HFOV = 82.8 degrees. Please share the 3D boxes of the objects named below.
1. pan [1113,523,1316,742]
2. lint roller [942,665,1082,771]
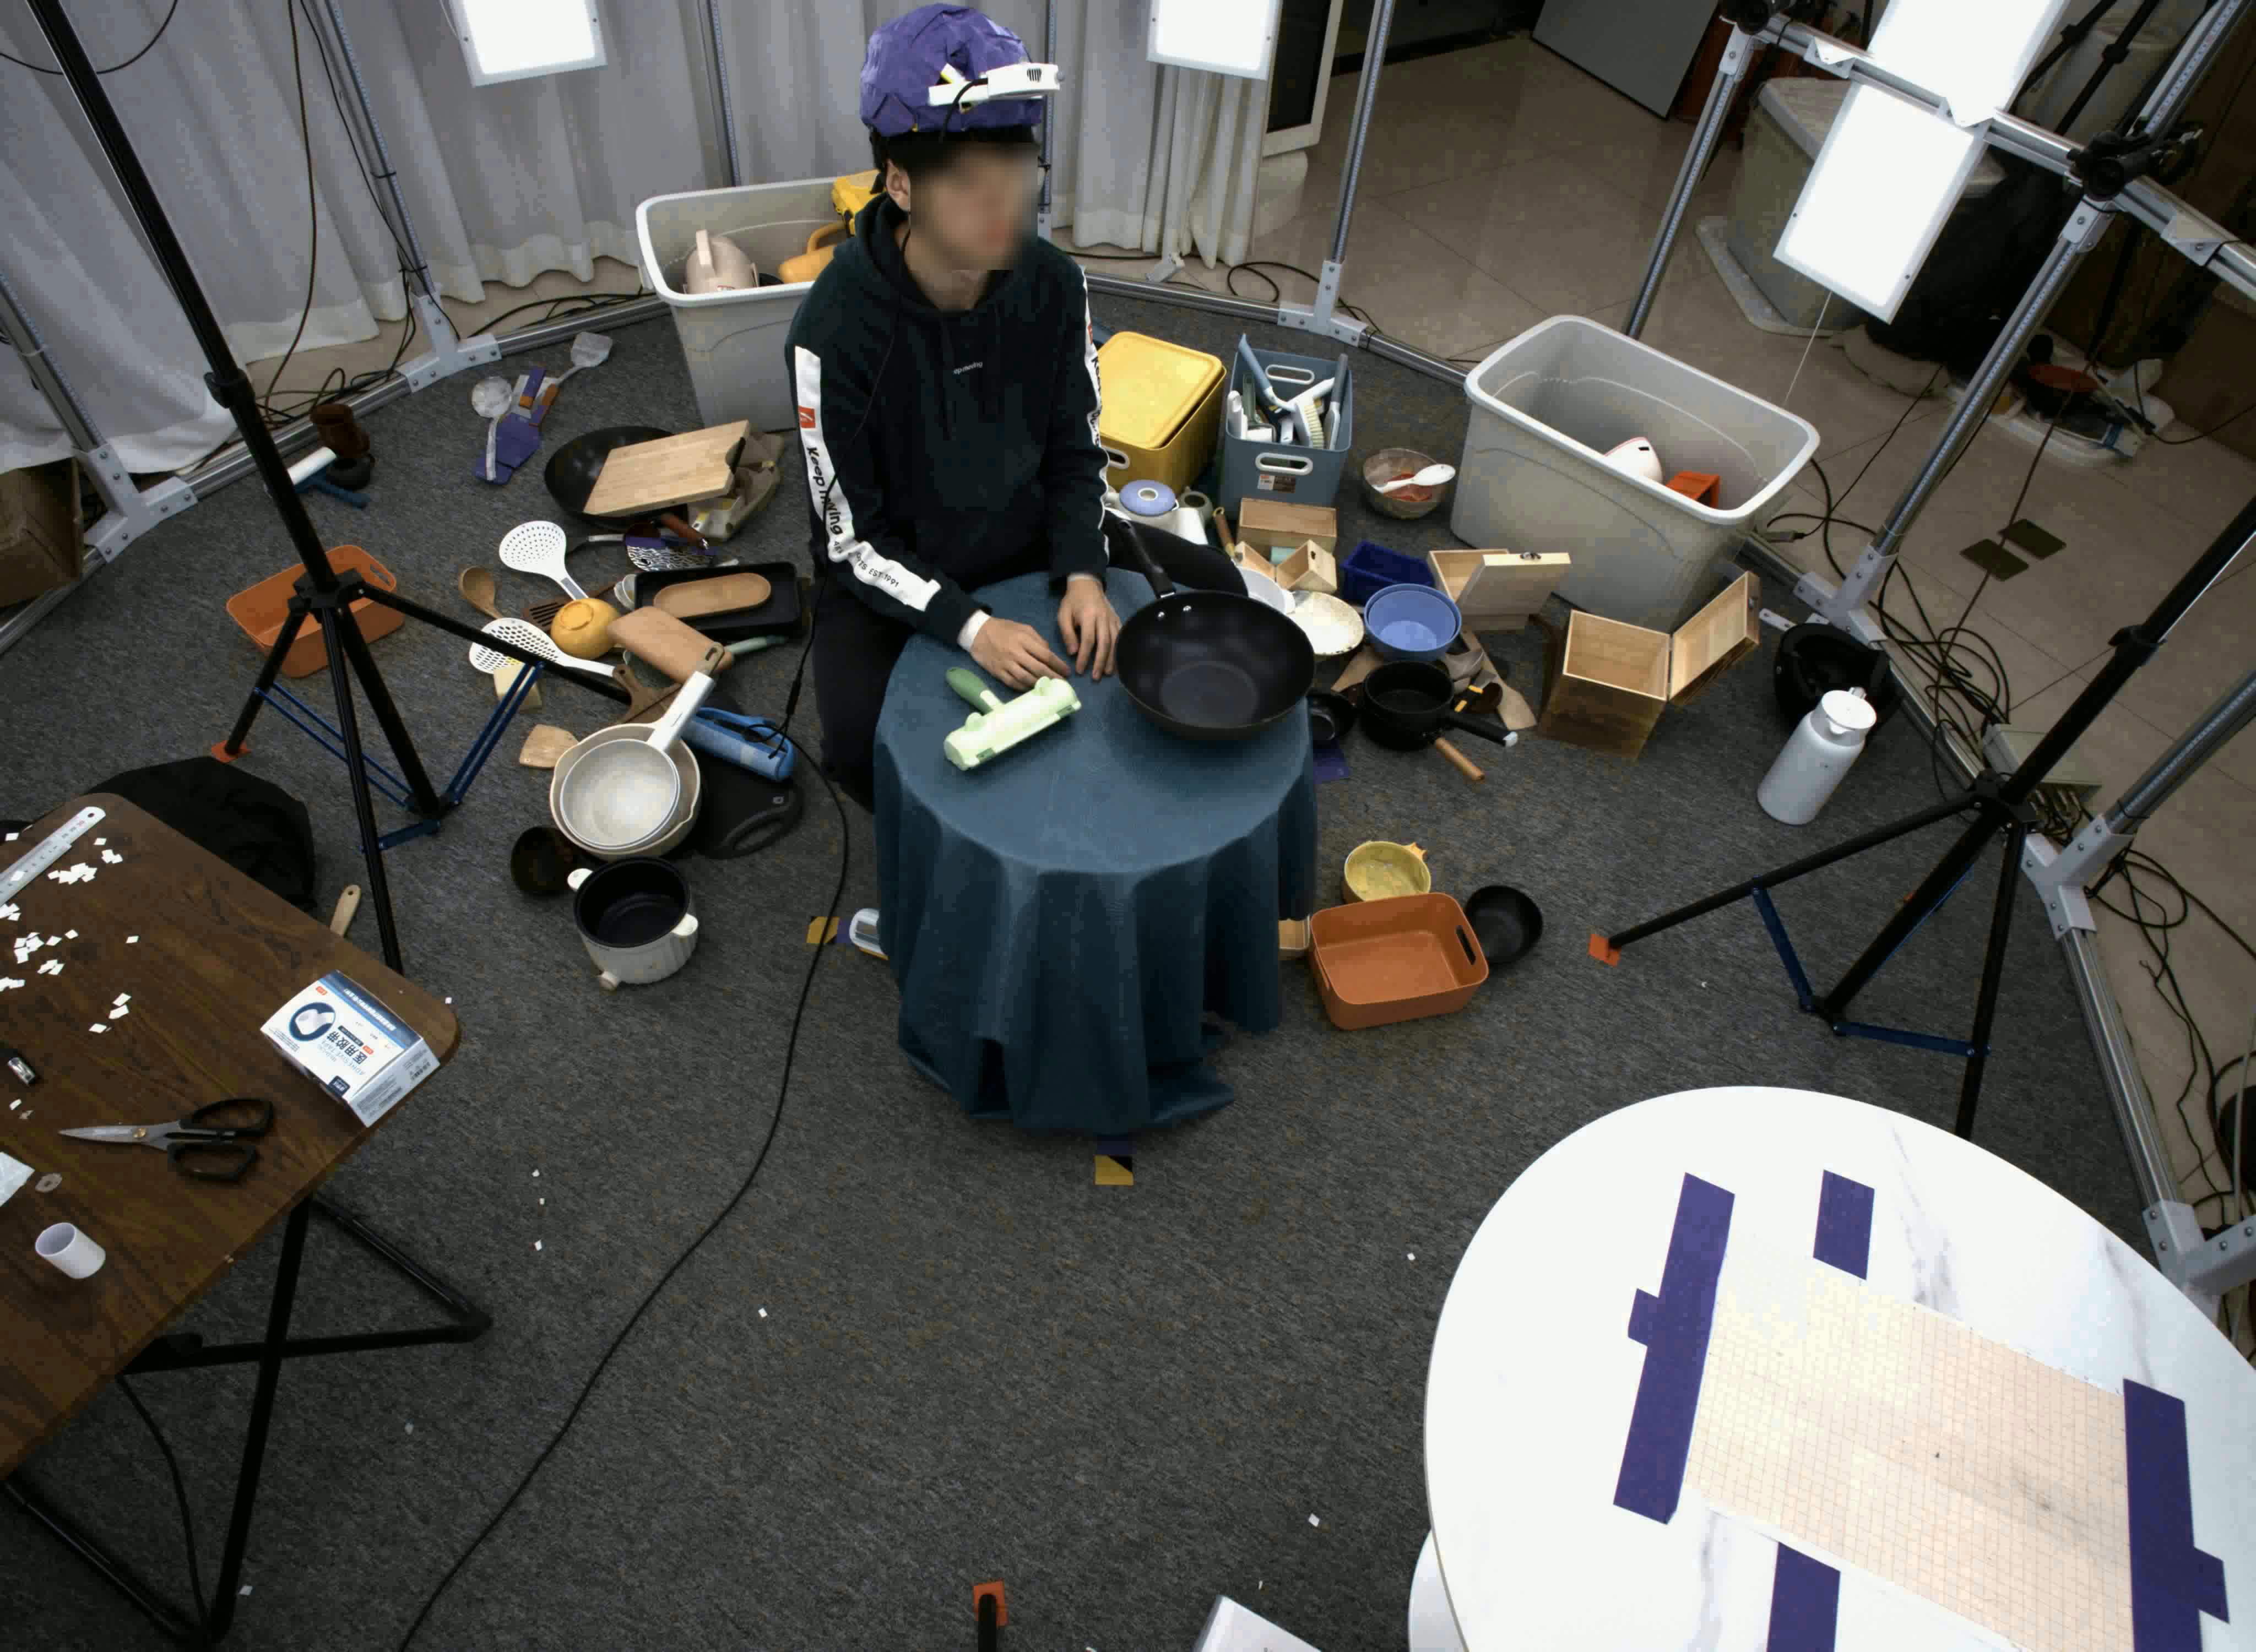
[{"bbox_3d":[0.079,-0.275,1.858,0.288,0.085,0.474,-17,51,-18],"label":"pan"},{"bbox_3d":[-0.192,-0.180,1.764,0.200,0.080,0.186,-31,63,-26],"label":"lint roller"}]
